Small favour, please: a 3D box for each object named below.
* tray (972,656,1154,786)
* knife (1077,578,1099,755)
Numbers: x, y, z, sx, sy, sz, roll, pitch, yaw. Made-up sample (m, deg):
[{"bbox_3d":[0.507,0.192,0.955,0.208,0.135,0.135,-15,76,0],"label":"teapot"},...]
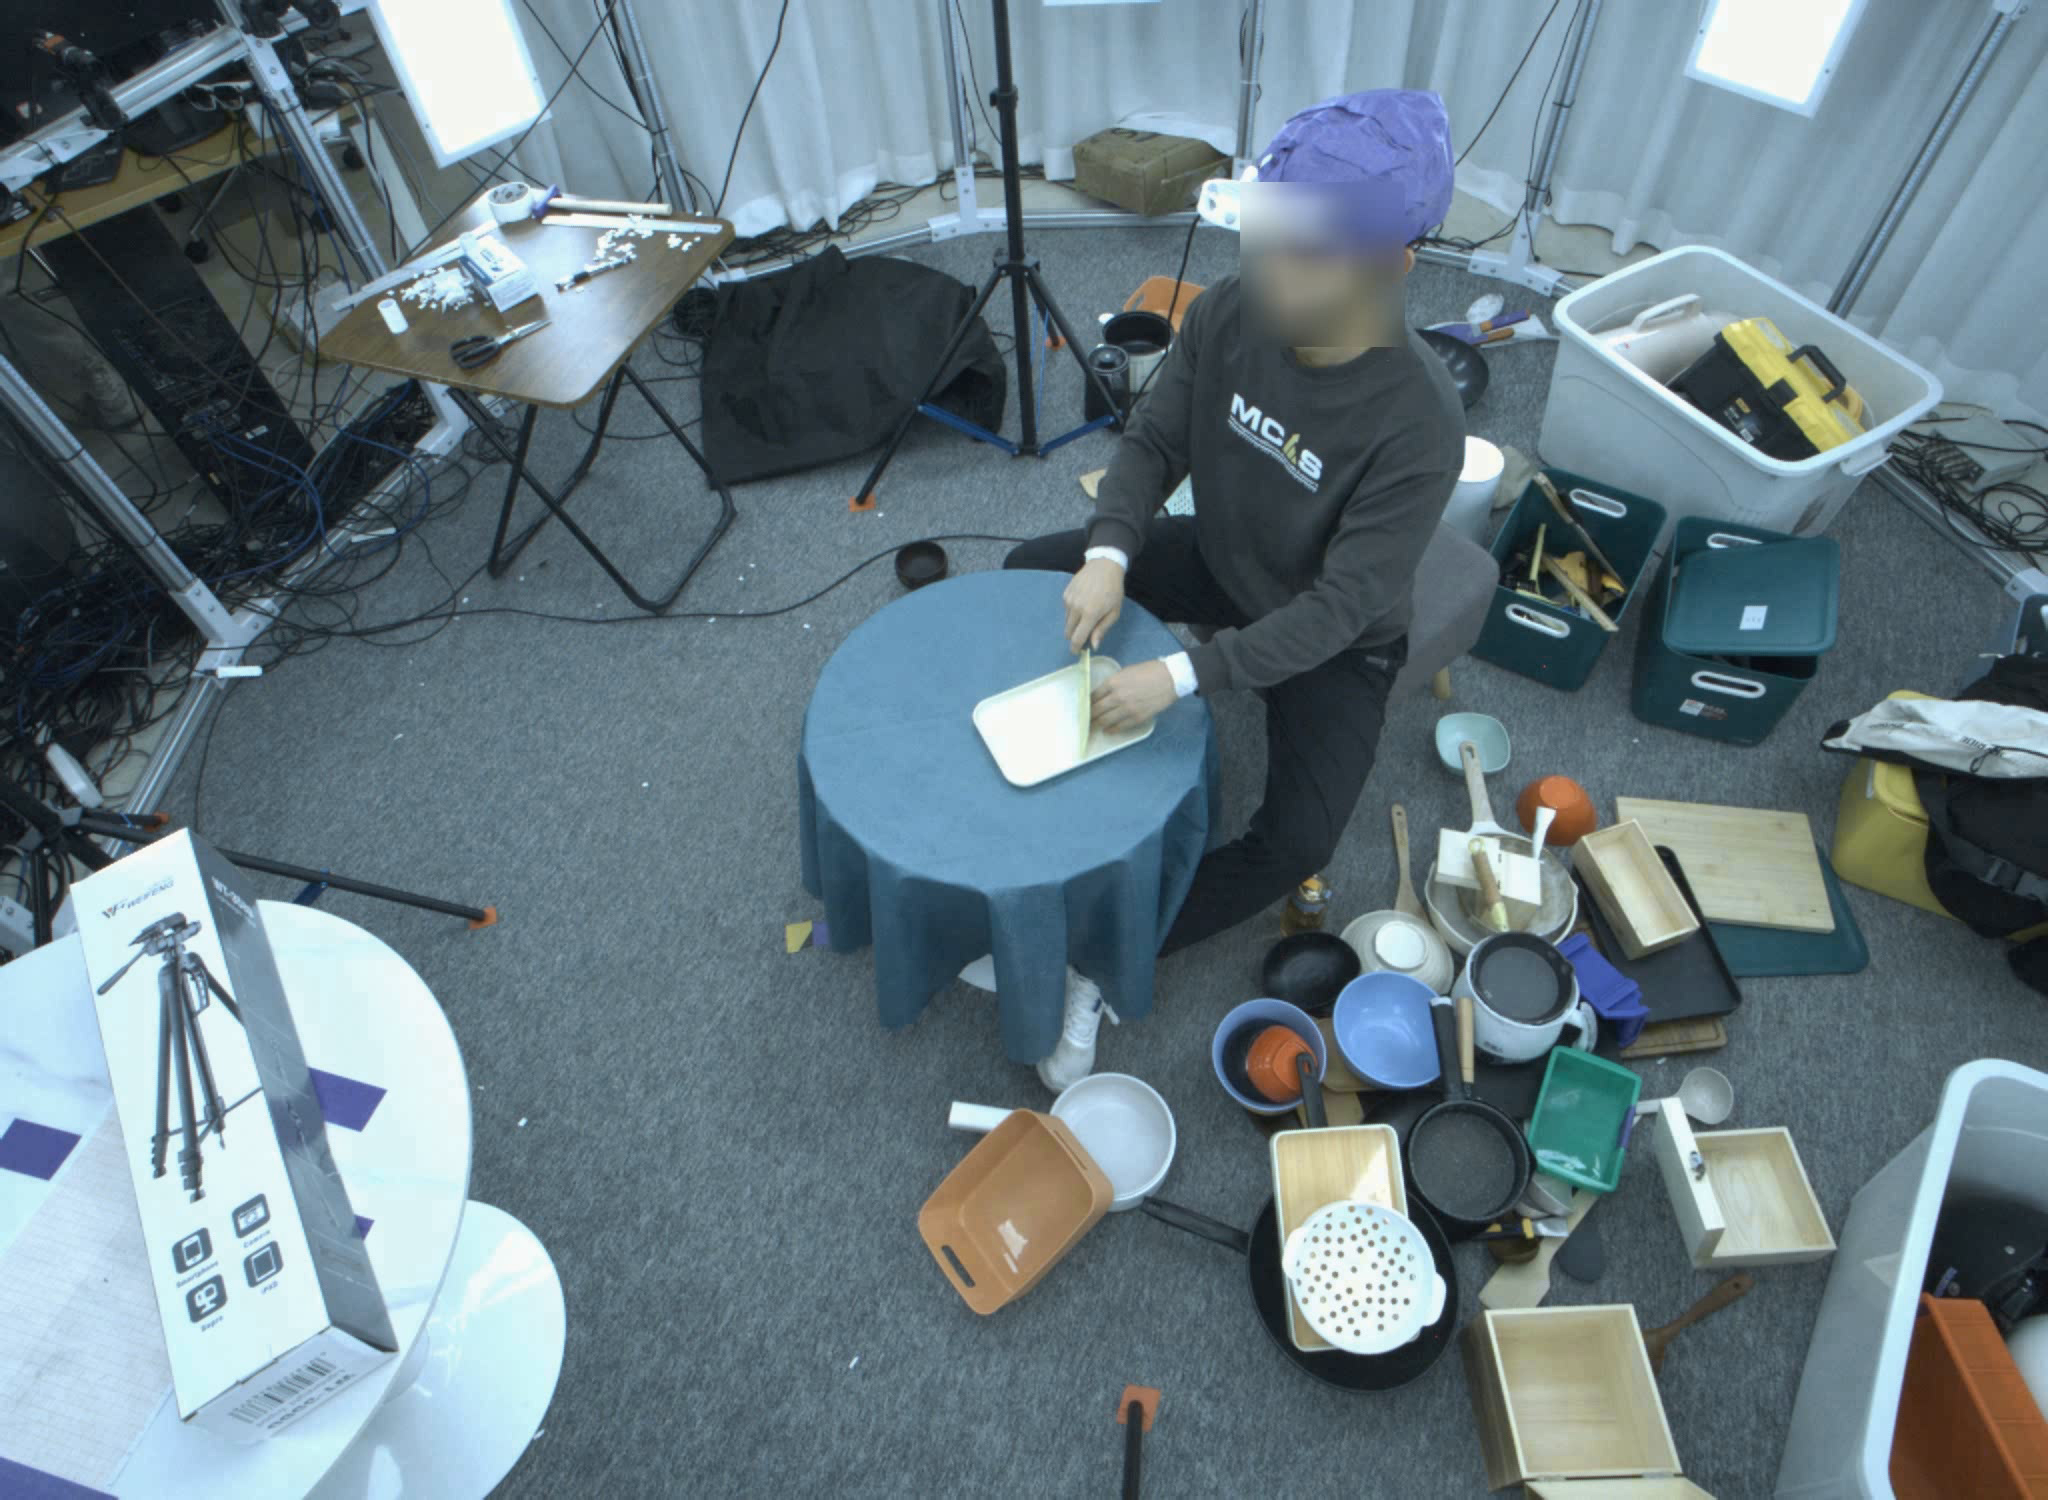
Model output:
[{"bbox_3d":[0.057,-0.044,1.814,0.241,0.017,0.168,-22,56,-14],"label":"tray"},{"bbox_3d":[0.090,-0.125,1.817,0.027,0.081,0.287,8,65,-11],"label":"knife"}]
